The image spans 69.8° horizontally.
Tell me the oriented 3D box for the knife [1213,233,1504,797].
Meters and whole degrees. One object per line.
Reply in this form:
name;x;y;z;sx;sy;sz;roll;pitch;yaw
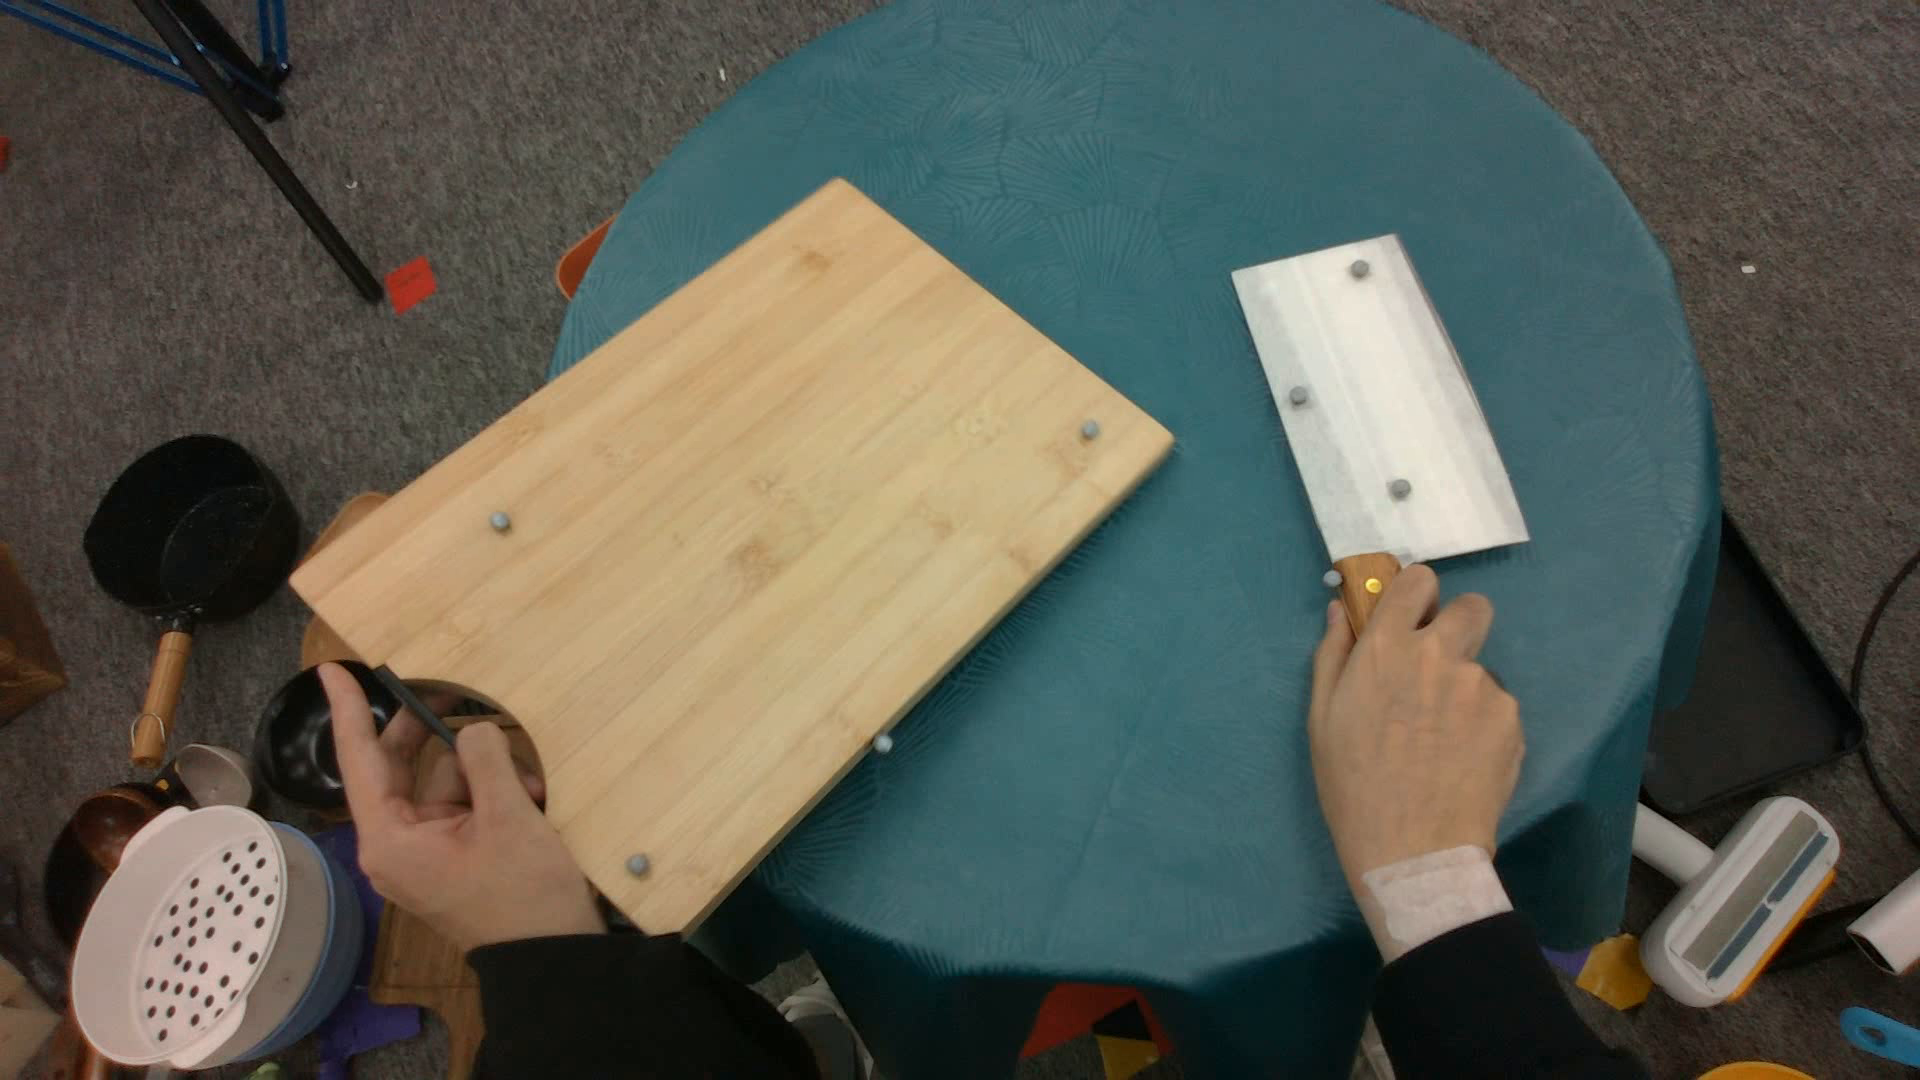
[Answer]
knife;0.204;-0.029;0.661;0.093;0.021;0.307;-13;60;1

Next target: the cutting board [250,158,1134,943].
cutting board;-0.111;-0.021;0.655;0.251;0.023;0.350;35;64;14
